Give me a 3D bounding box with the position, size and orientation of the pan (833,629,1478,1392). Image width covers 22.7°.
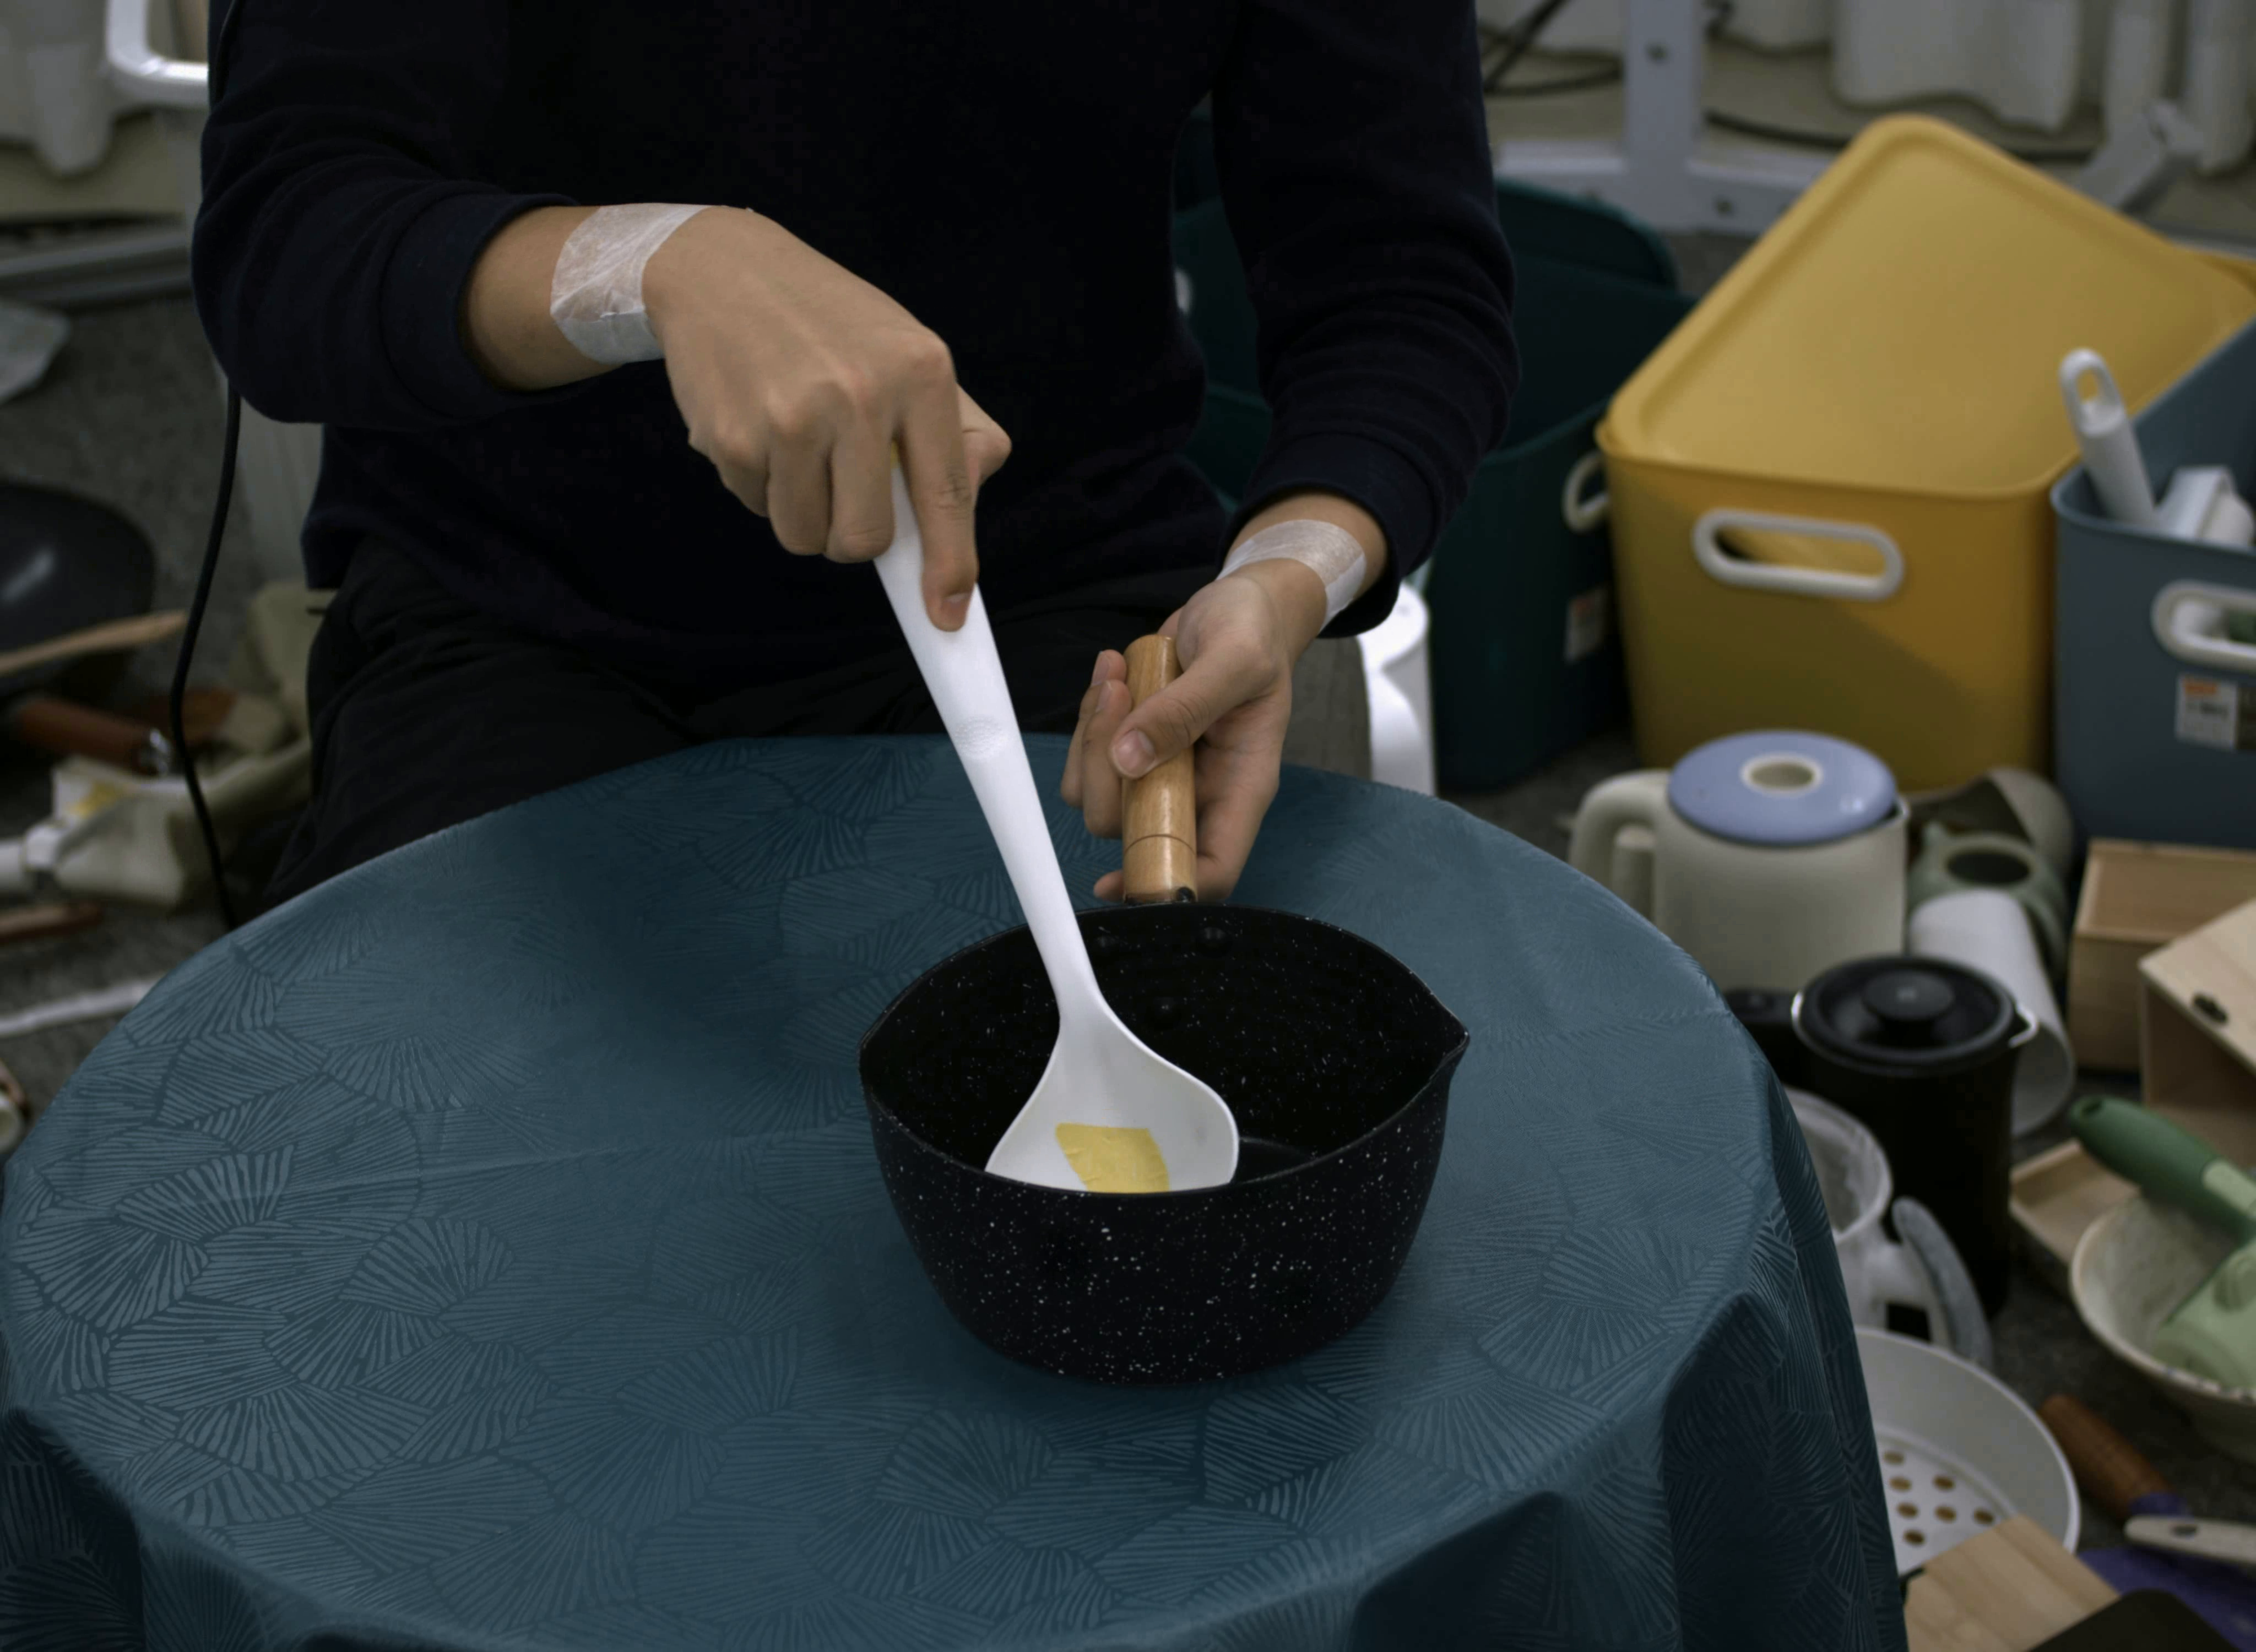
[{"bbox_3d":[0.009,0.058,1.869,0.206,0.107,0.348,-4,29,1],"label":"pan"}]

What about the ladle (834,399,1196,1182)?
[{"bbox_3d":[-0.047,0.005,1.829,0.089,0.294,0.070,-18,-4,21],"label":"ladle"}]
